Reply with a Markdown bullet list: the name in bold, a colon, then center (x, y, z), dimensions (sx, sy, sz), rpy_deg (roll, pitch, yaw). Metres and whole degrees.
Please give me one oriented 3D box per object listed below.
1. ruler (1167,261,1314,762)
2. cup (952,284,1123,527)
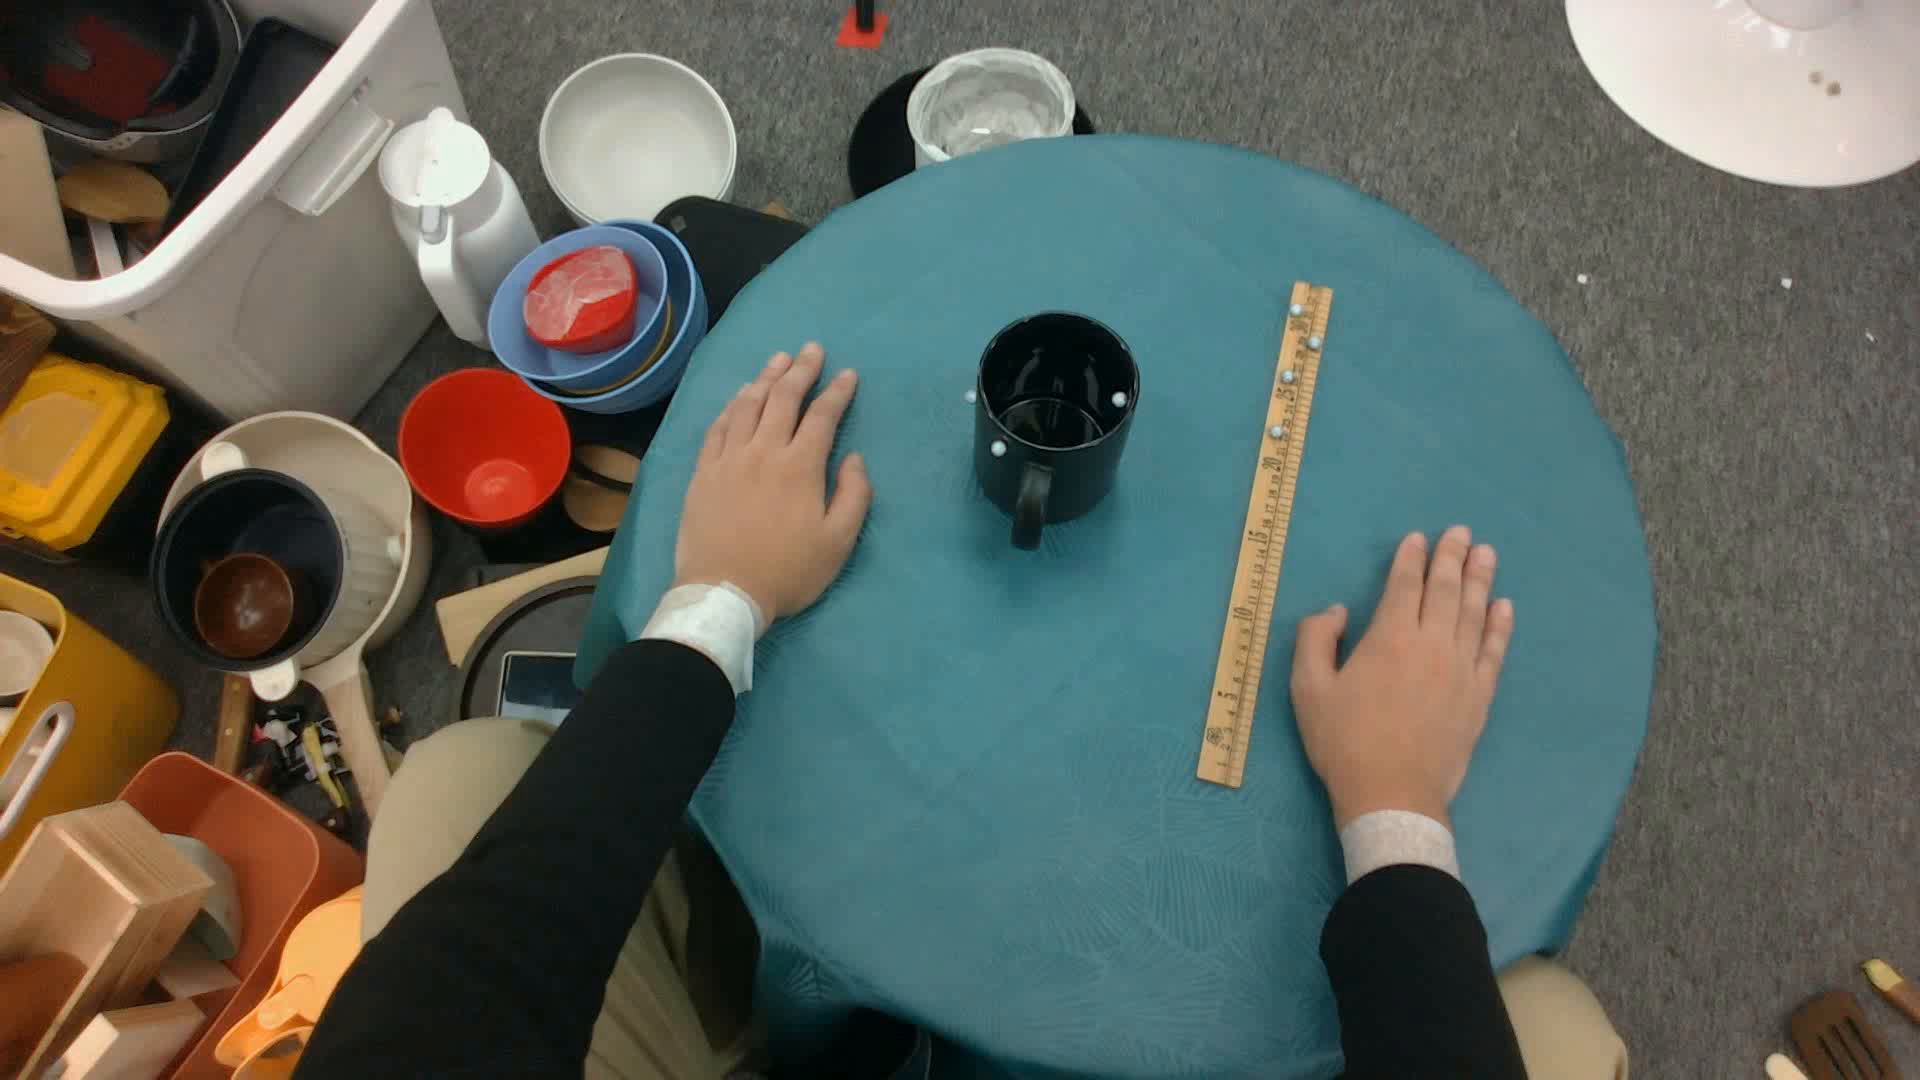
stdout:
- **ruler**: center (0.170, -0.030, 0.813), dimensions (0.027, 0.022, 0.333), rpy_deg (13, 67, 9)
- **cup**: center (0.037, -0.066, 0.775), dimensions (0.088, 0.105, 0.124), rpy_deg (14, 69, 2)
